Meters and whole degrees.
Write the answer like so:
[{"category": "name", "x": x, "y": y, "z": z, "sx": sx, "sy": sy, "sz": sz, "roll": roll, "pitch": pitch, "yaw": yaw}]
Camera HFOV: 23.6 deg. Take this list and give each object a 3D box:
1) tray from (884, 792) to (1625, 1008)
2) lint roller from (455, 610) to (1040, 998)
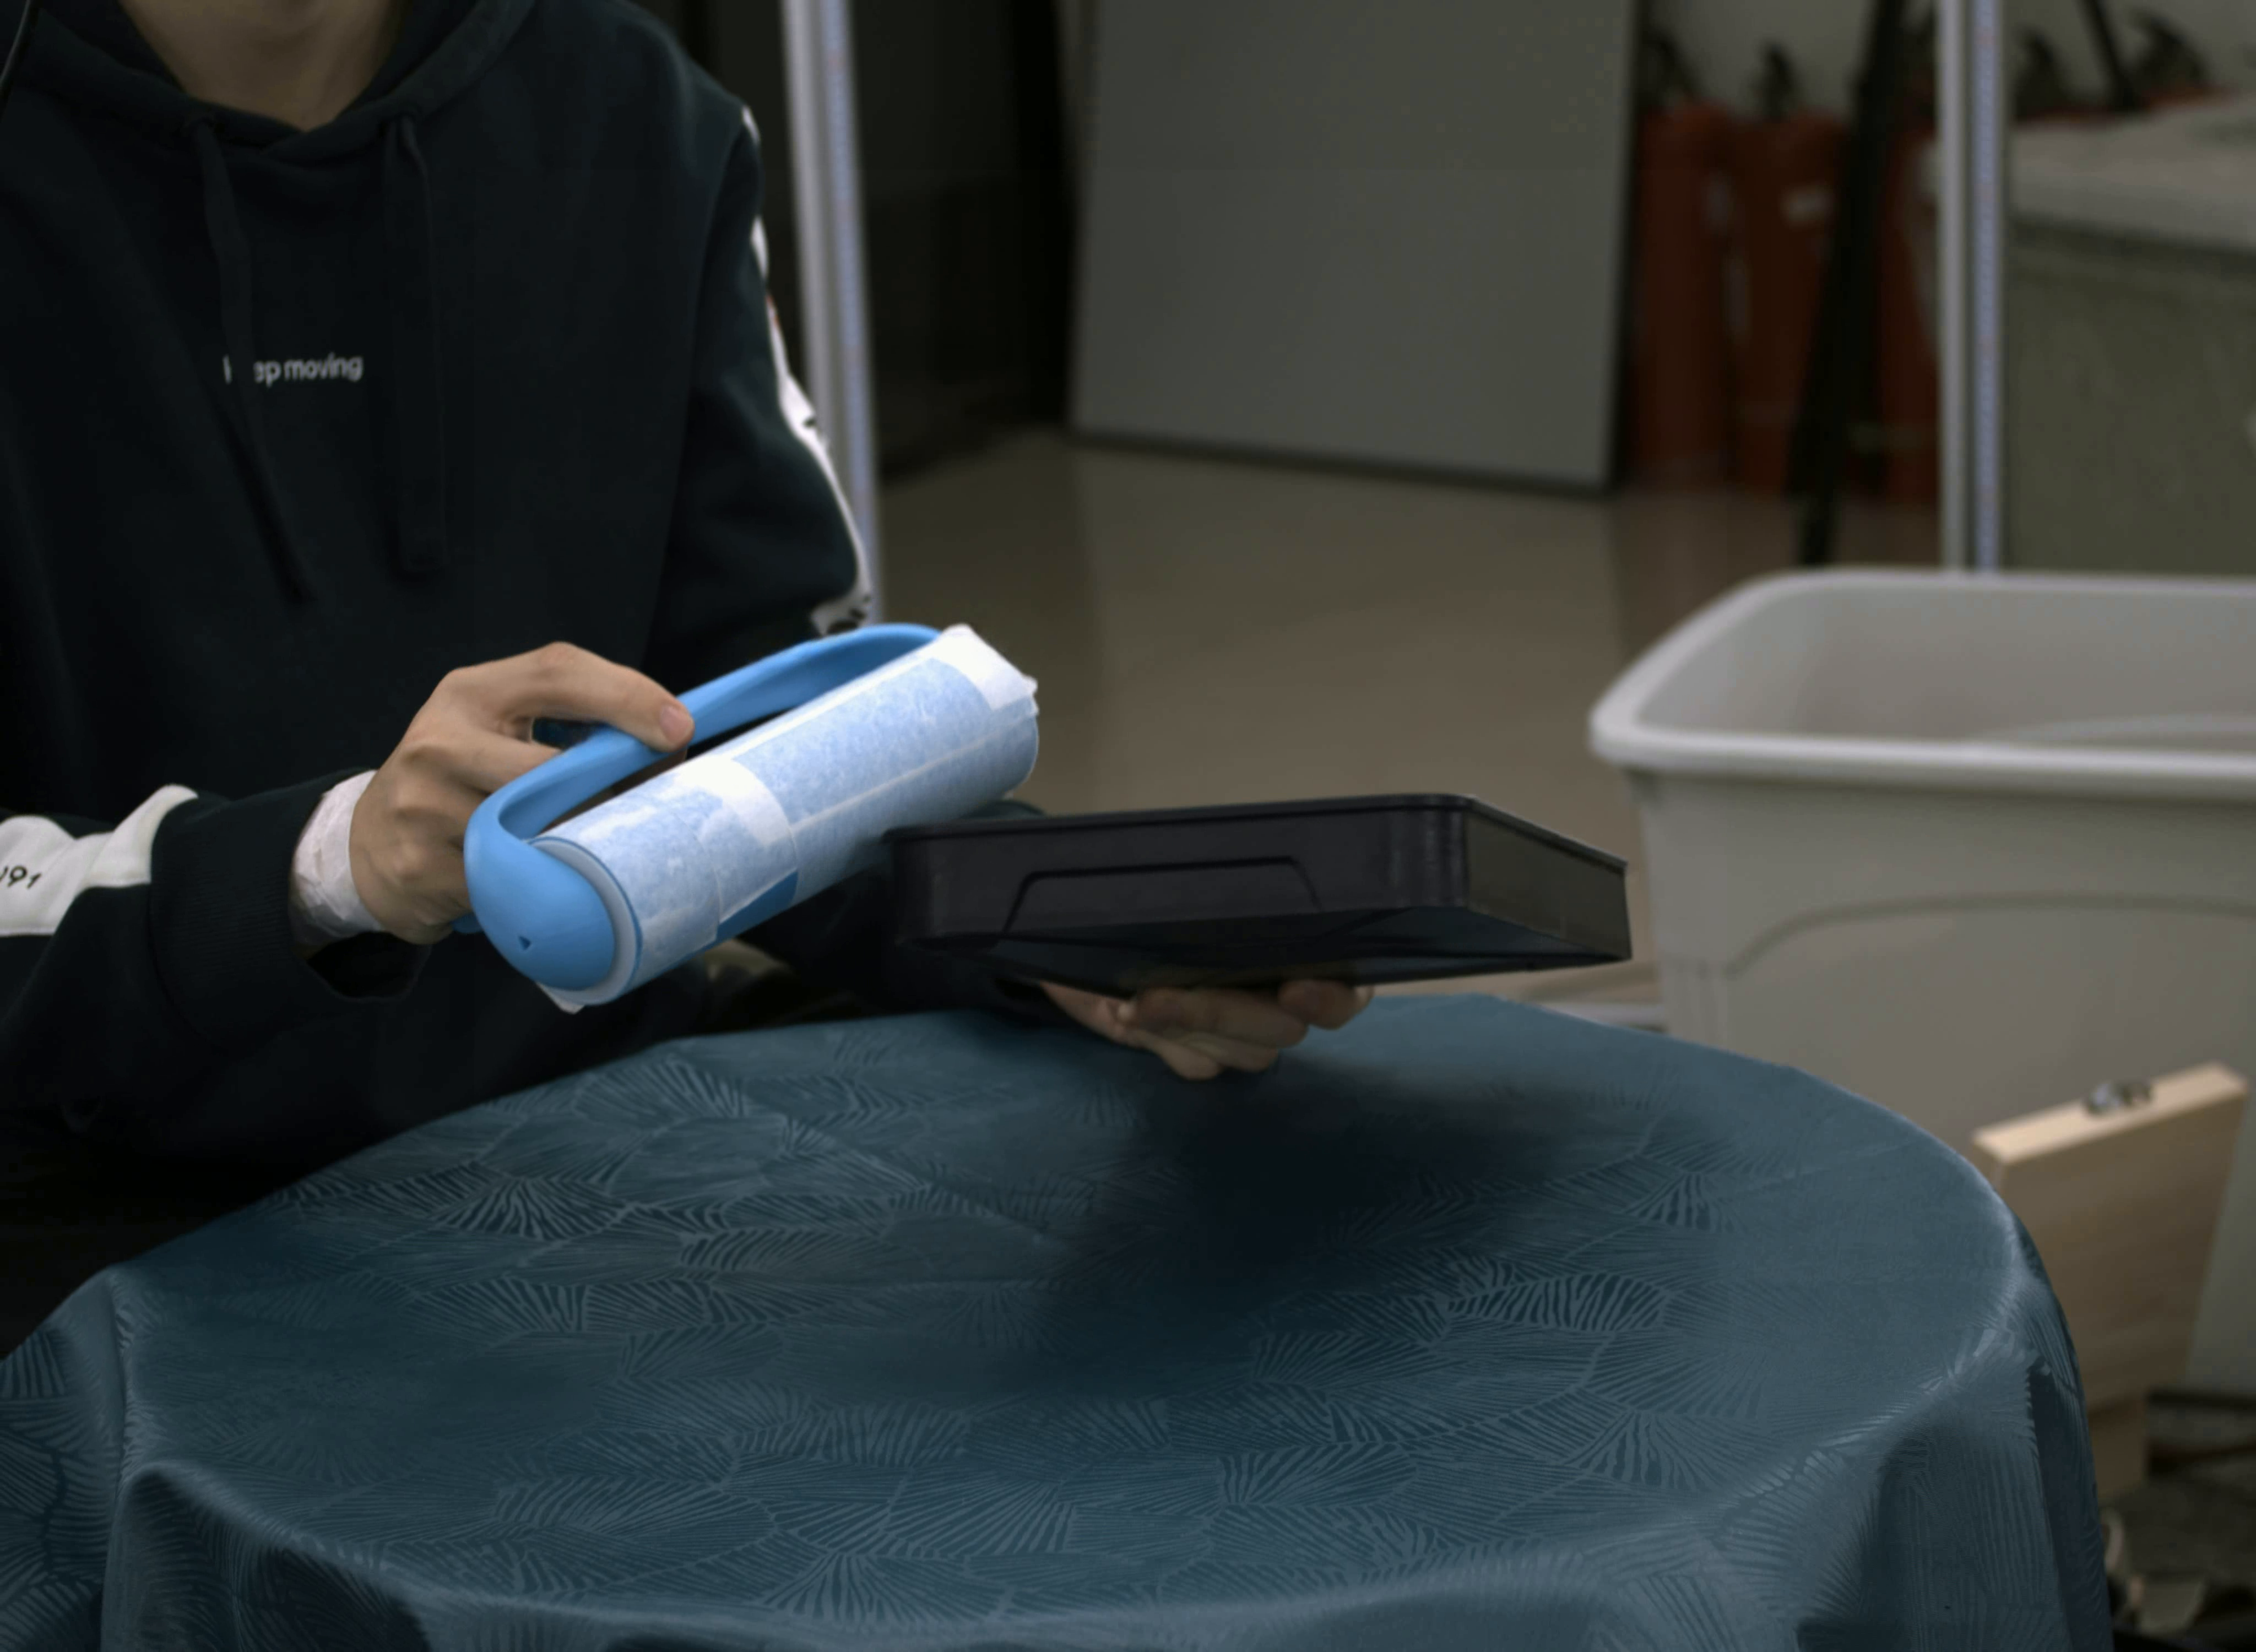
[{"category": "tray", "x": 0.050, "y": 0.026, "z": 1.728, "sx": 0.183, "sy": 0.037, "sz": 0.315, "roll": -6, "pitch": -6, "yaw": 15}, {"category": "lint roller", "x": -0.150, "y": -0.003, "z": 1.661, "sx": 0.181, "sy": 0.068, "sz": 0.225, "roll": -7, "pitch": 17, "yaw": 38}]
